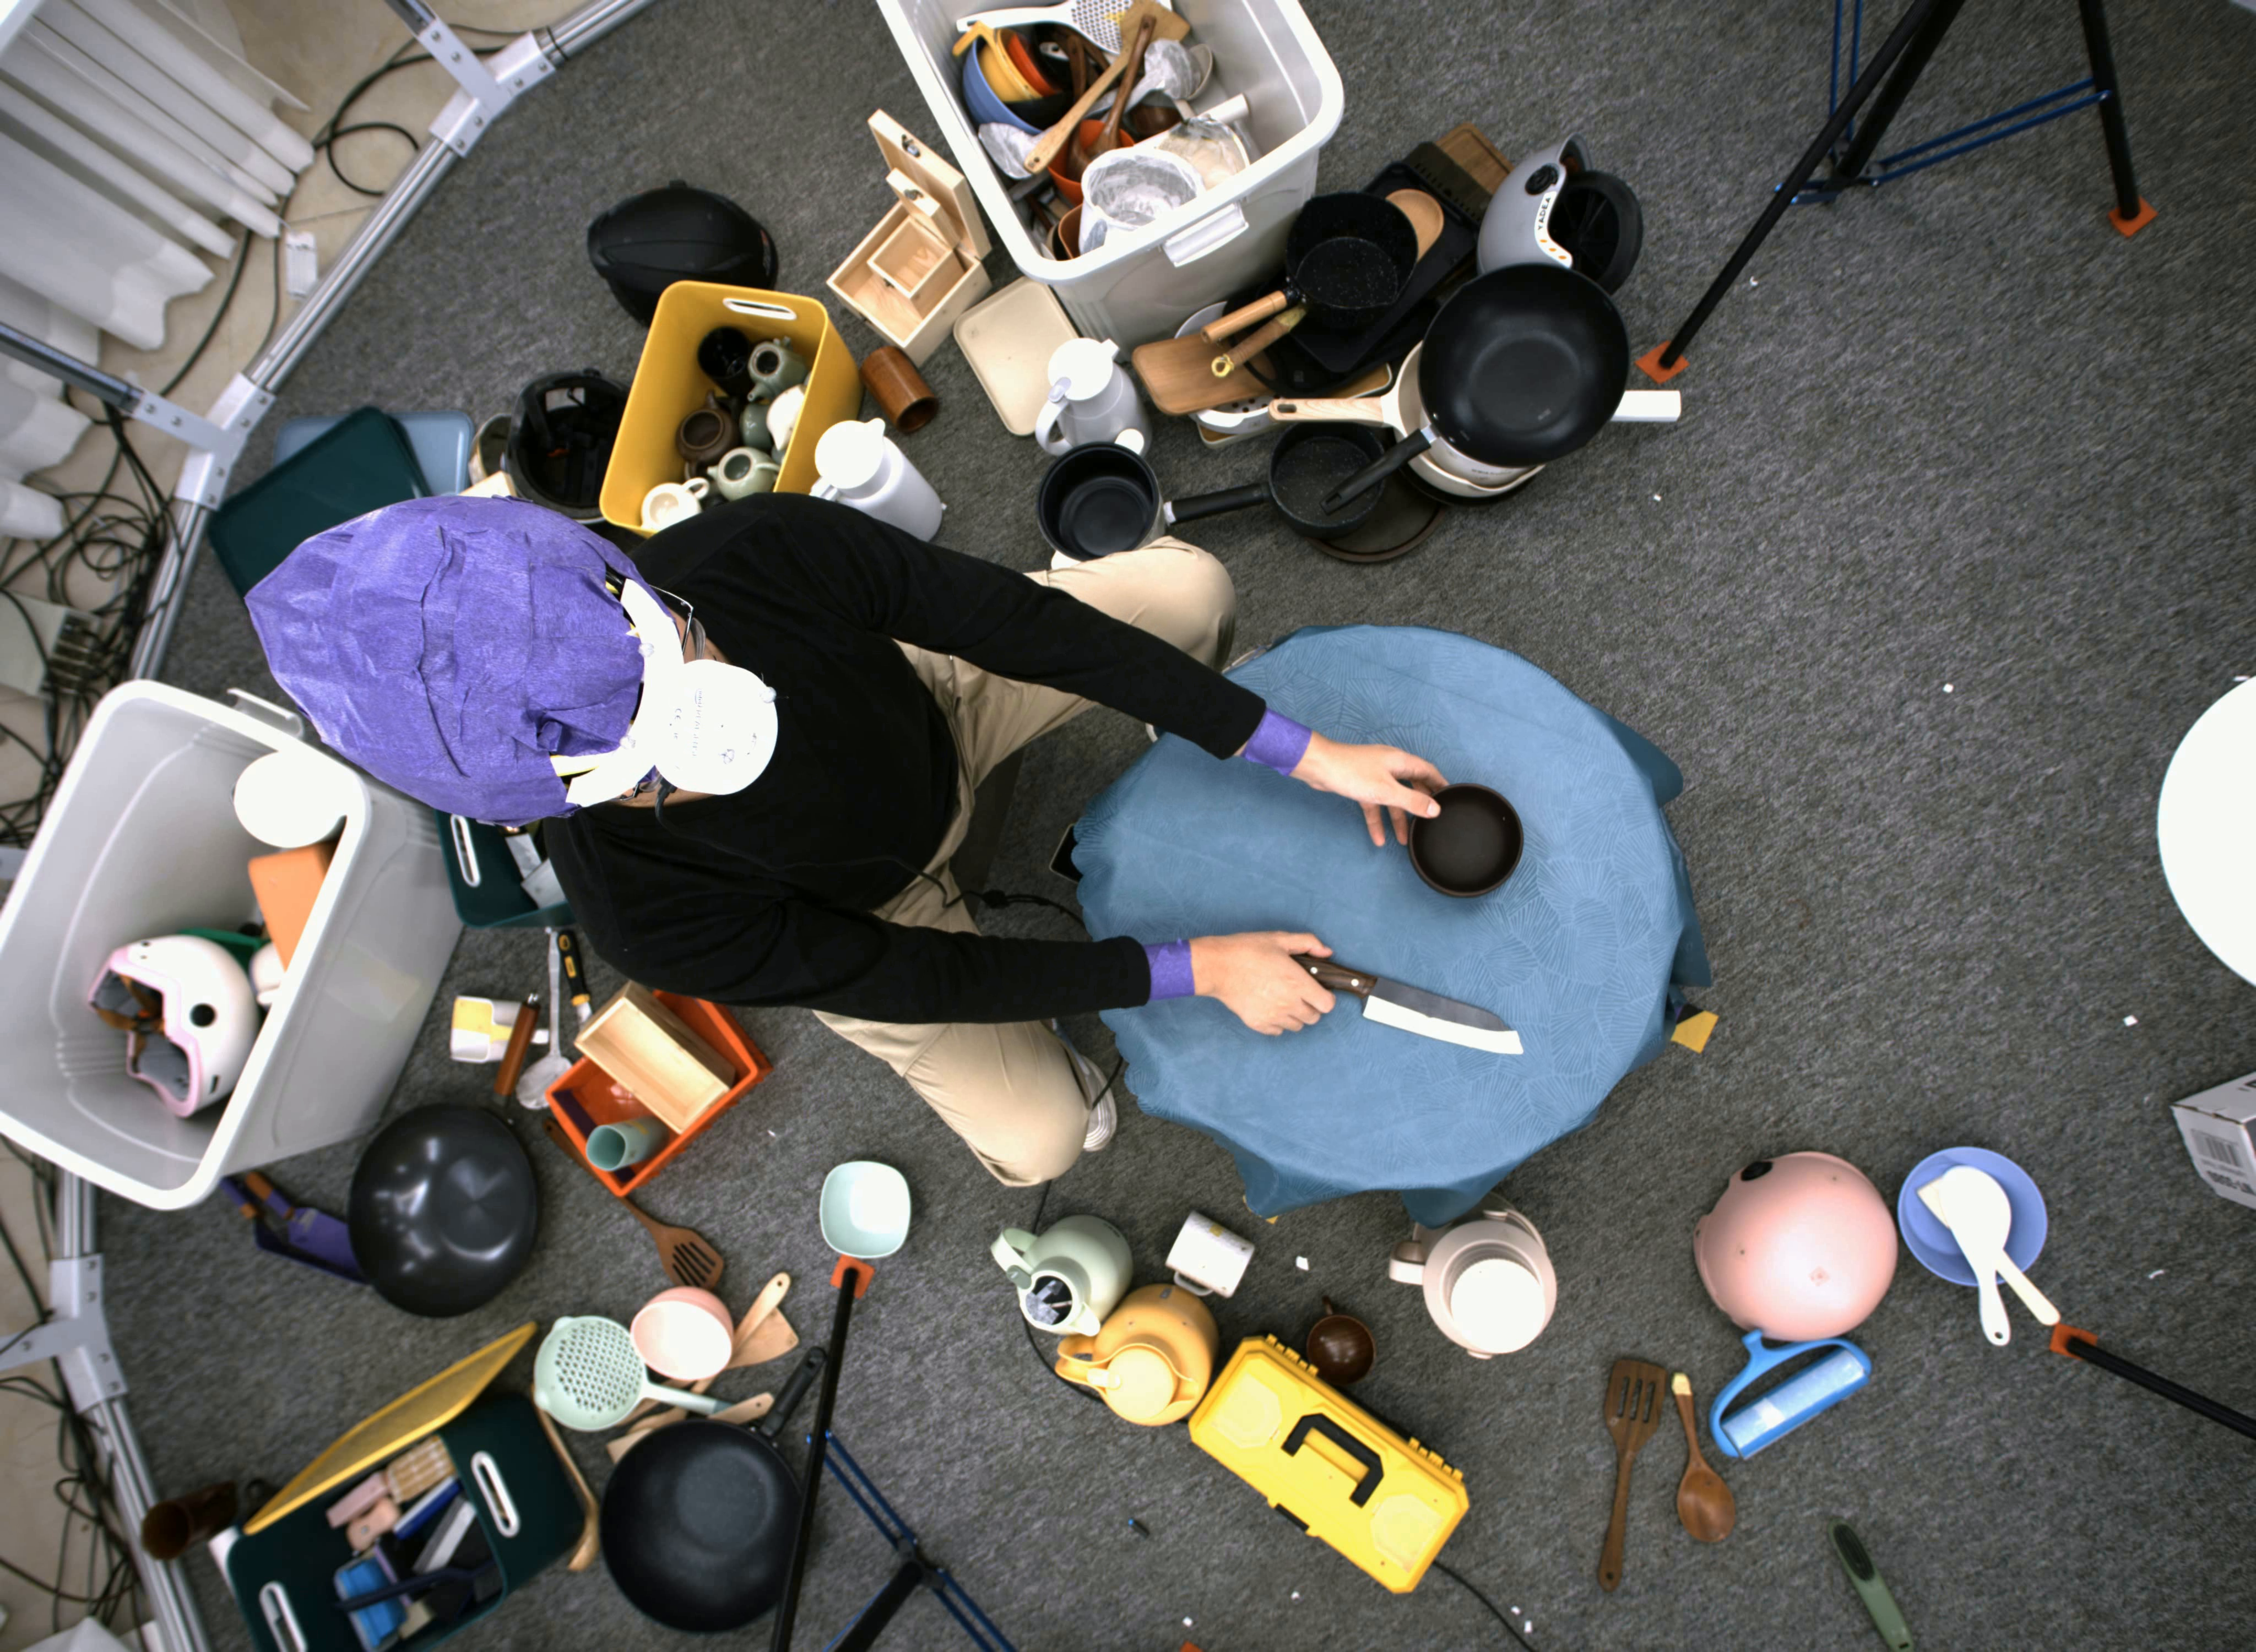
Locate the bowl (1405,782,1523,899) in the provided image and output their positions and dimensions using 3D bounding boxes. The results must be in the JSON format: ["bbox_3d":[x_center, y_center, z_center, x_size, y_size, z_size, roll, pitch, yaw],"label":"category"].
[{"bbox_3d":[0.344,0.015,1.414,0.118,0.070,0.117,-1,87,12],"label":"bowl"}]

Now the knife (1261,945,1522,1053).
[{"bbox_3d":[0.274,0.180,1.448,0.289,0.020,0.050,19,98,9],"label":"knife"}]
